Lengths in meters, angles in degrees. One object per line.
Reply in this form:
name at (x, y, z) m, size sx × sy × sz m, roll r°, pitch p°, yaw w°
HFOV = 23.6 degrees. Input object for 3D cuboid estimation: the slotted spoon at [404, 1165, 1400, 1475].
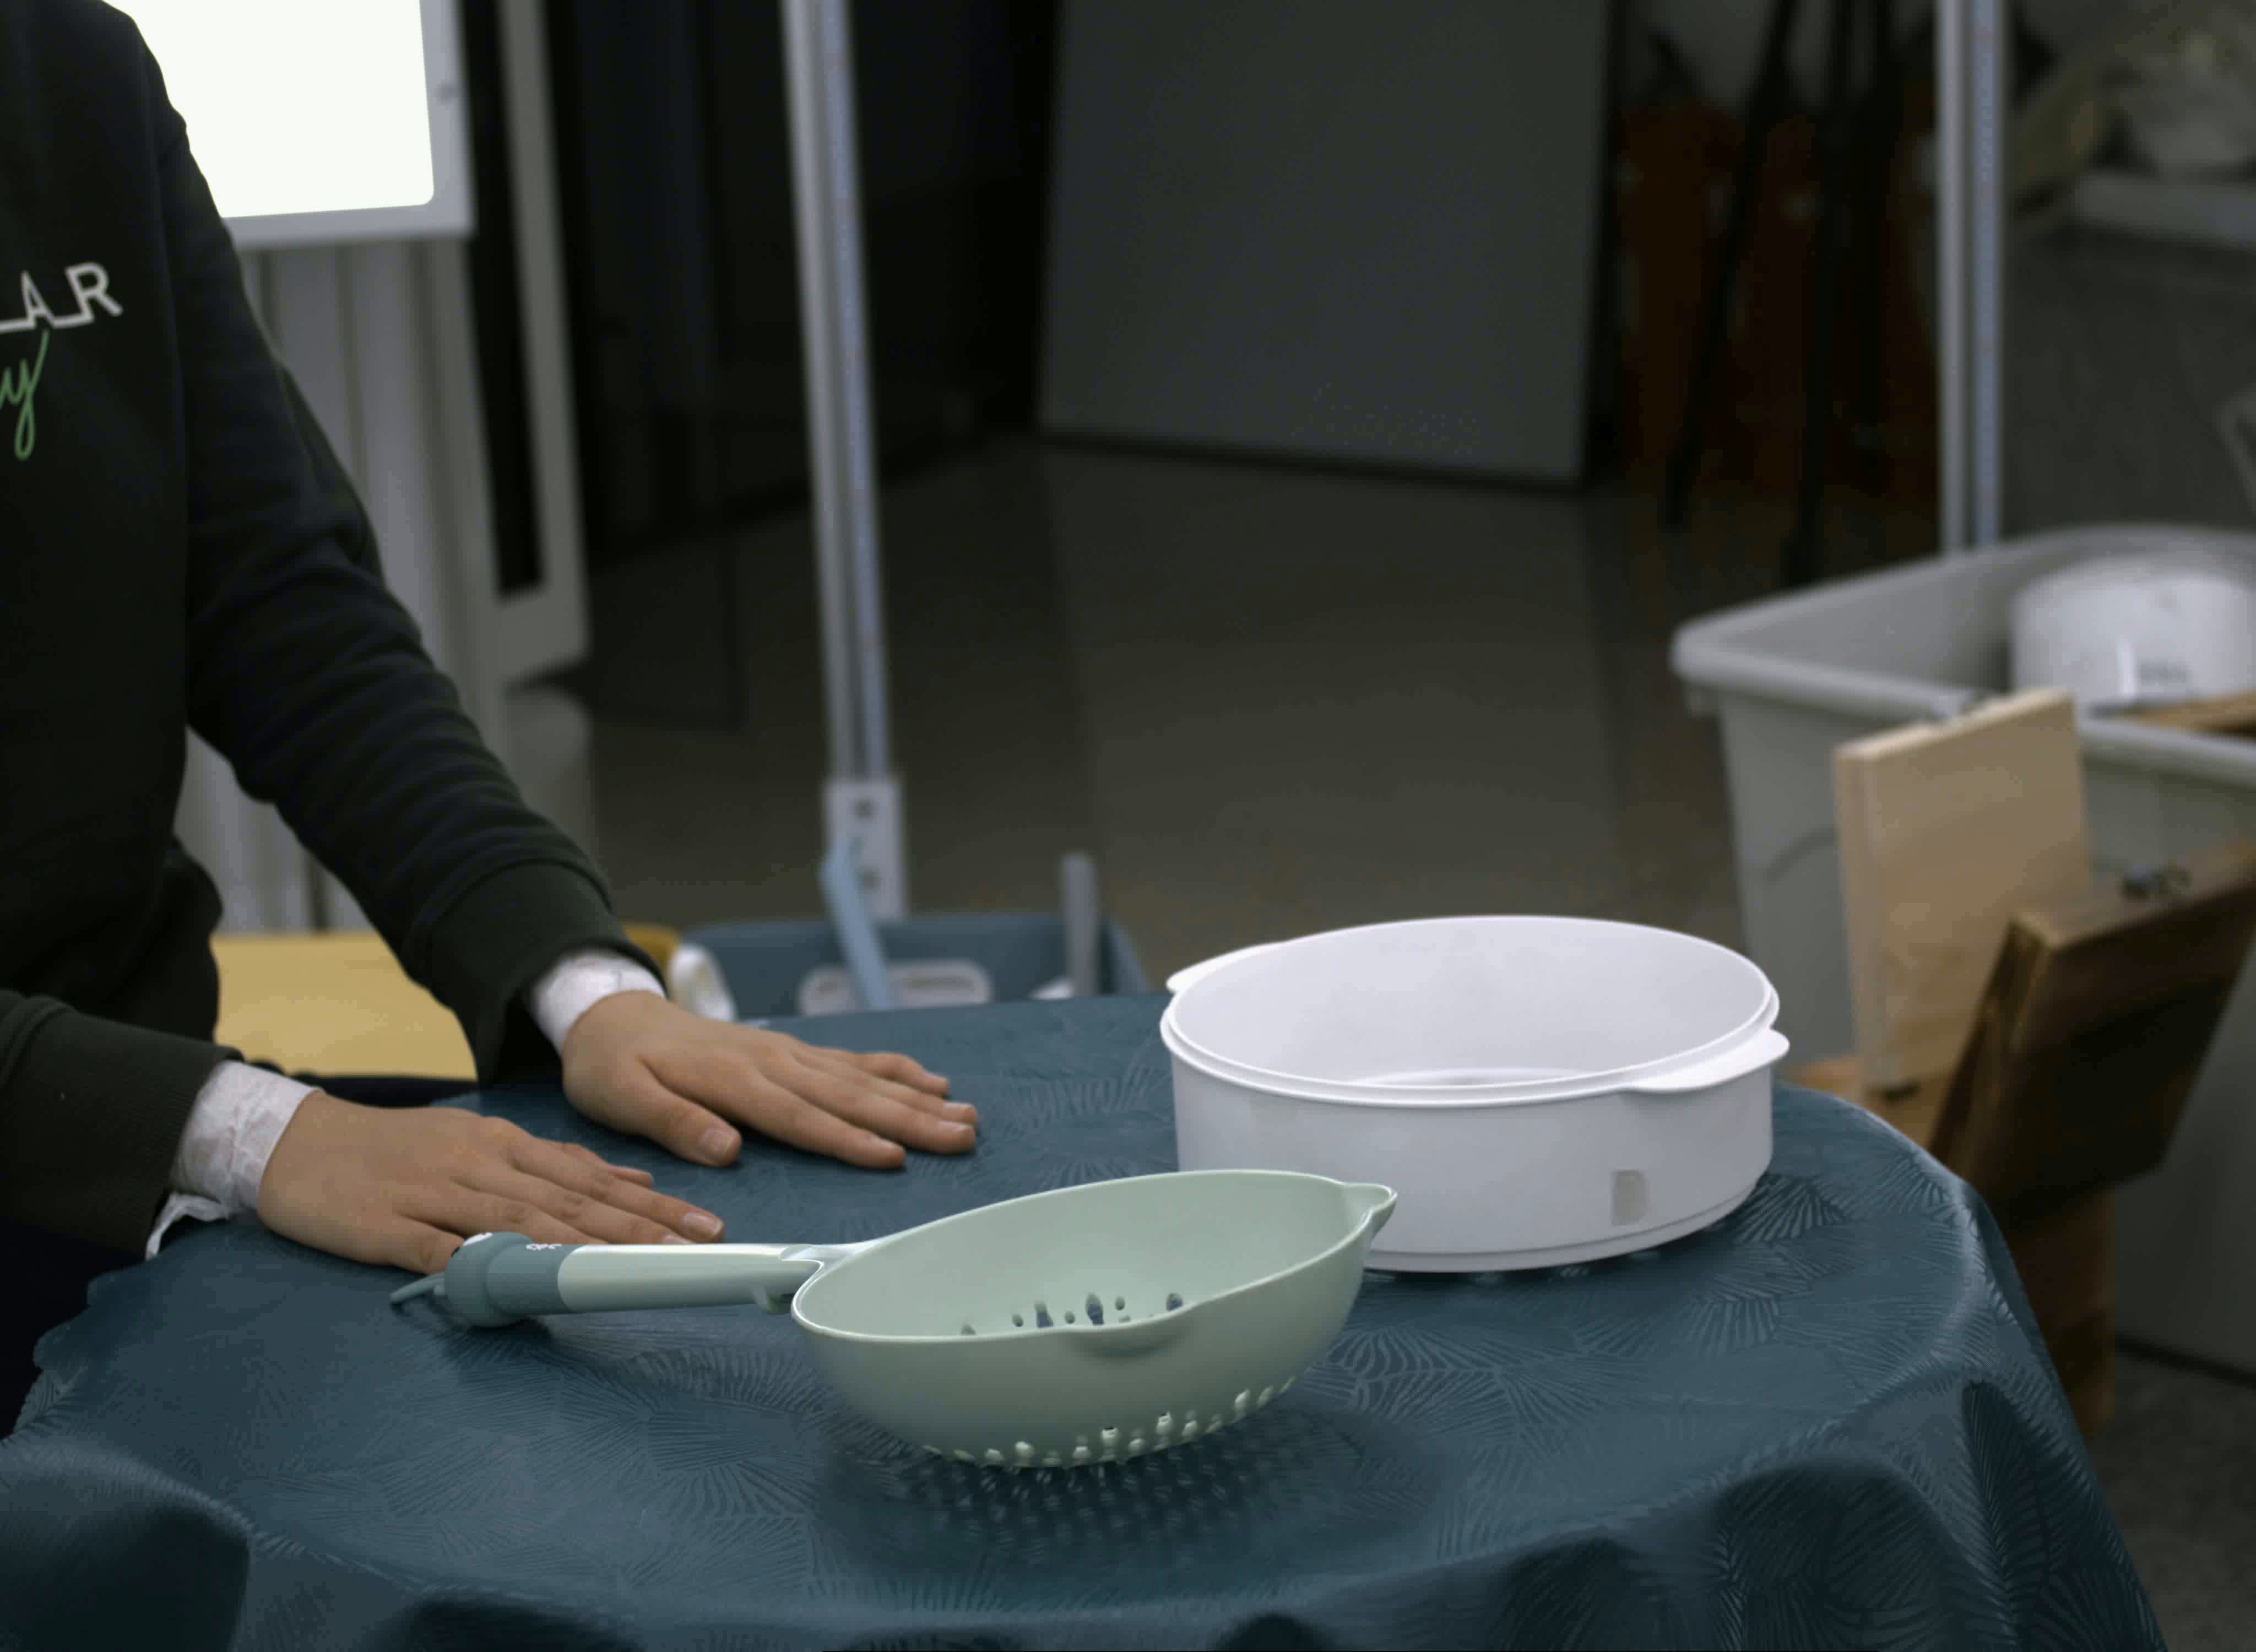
slotted spoon at (-0.086, 0.138, 1.595) m, size 0.361 × 0.076 × 0.166 m, roll 6°, pitch 16°, yaw 37°

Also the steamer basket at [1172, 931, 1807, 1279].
steamer basket at (0.115, 0.089, 1.733) m, size 0.232 × 0.070 × 0.198 m, roll 8°, pitch 17°, yaw 43°
